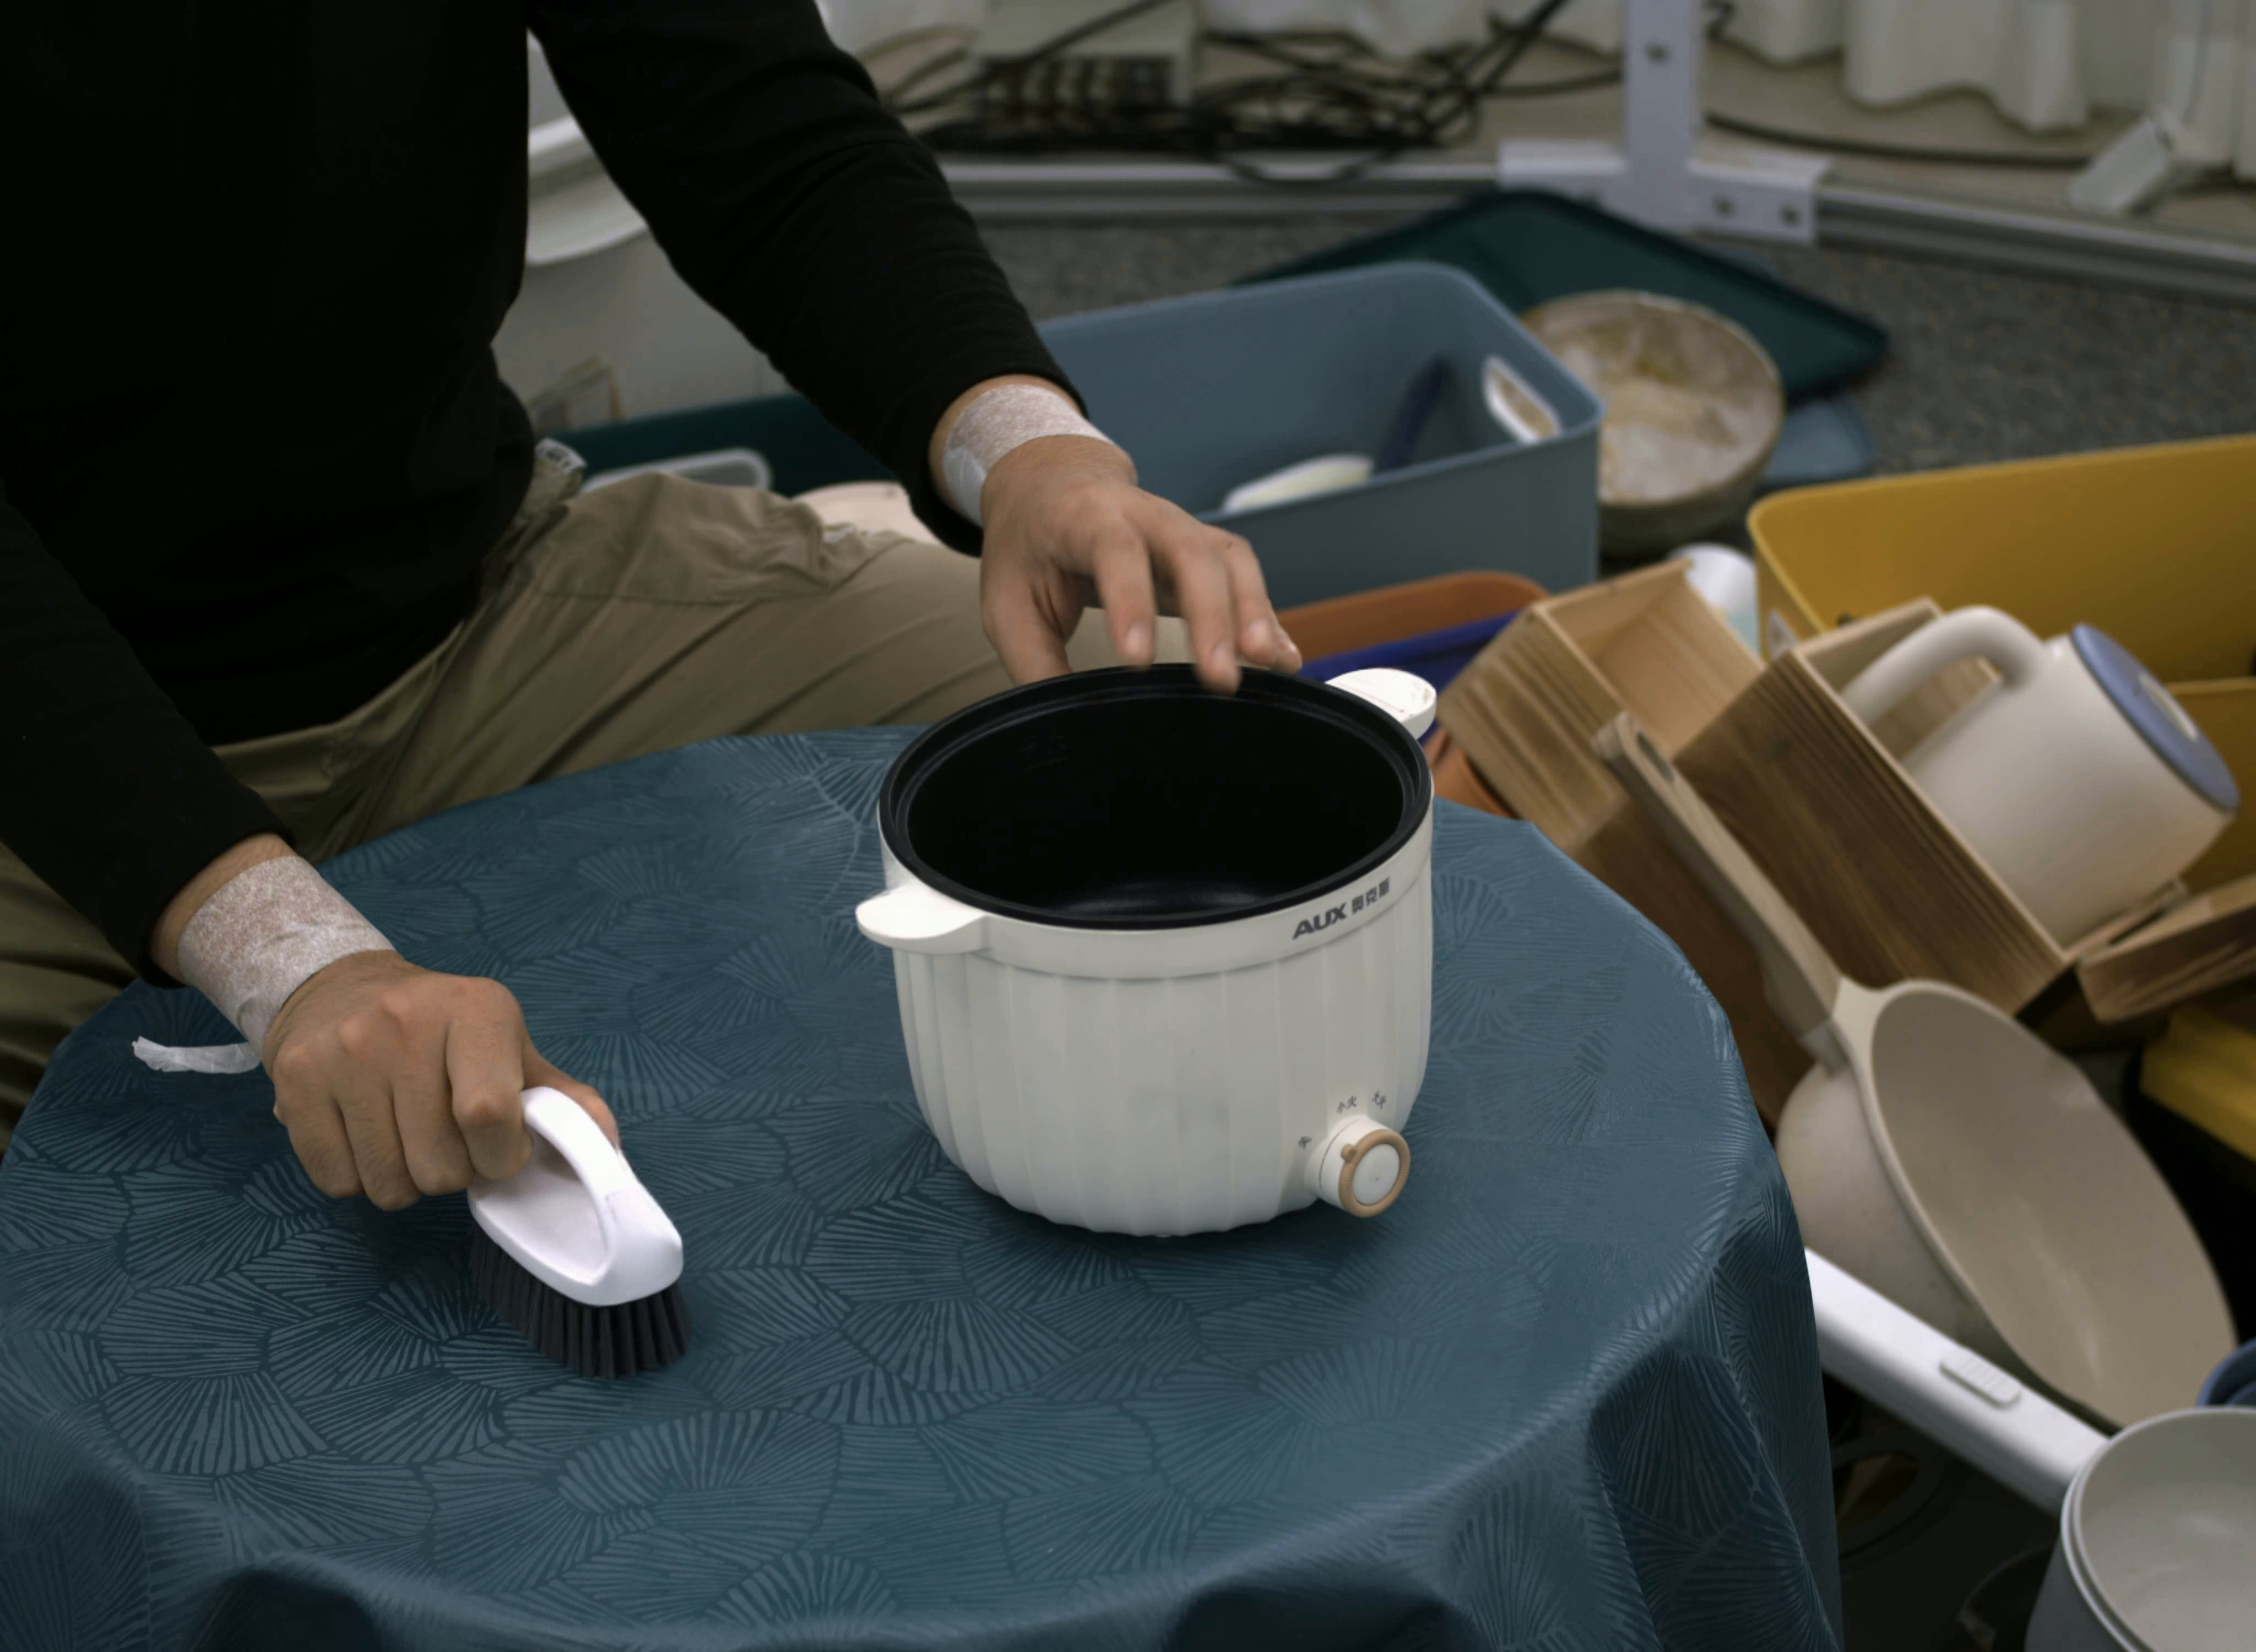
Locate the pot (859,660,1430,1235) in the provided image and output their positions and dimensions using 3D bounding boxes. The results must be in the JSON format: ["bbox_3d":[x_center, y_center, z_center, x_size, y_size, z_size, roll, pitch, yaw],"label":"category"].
[{"bbox_3d":[0.016,0.046,1.857,0.243,0.141,0.190,-26,32,-35],"label":"pot"}]

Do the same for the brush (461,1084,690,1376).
[{"bbox_3d":[-0.179,0.123,1.798,0.050,0.072,0.099,-17,30,-29],"label":"brush"}]
